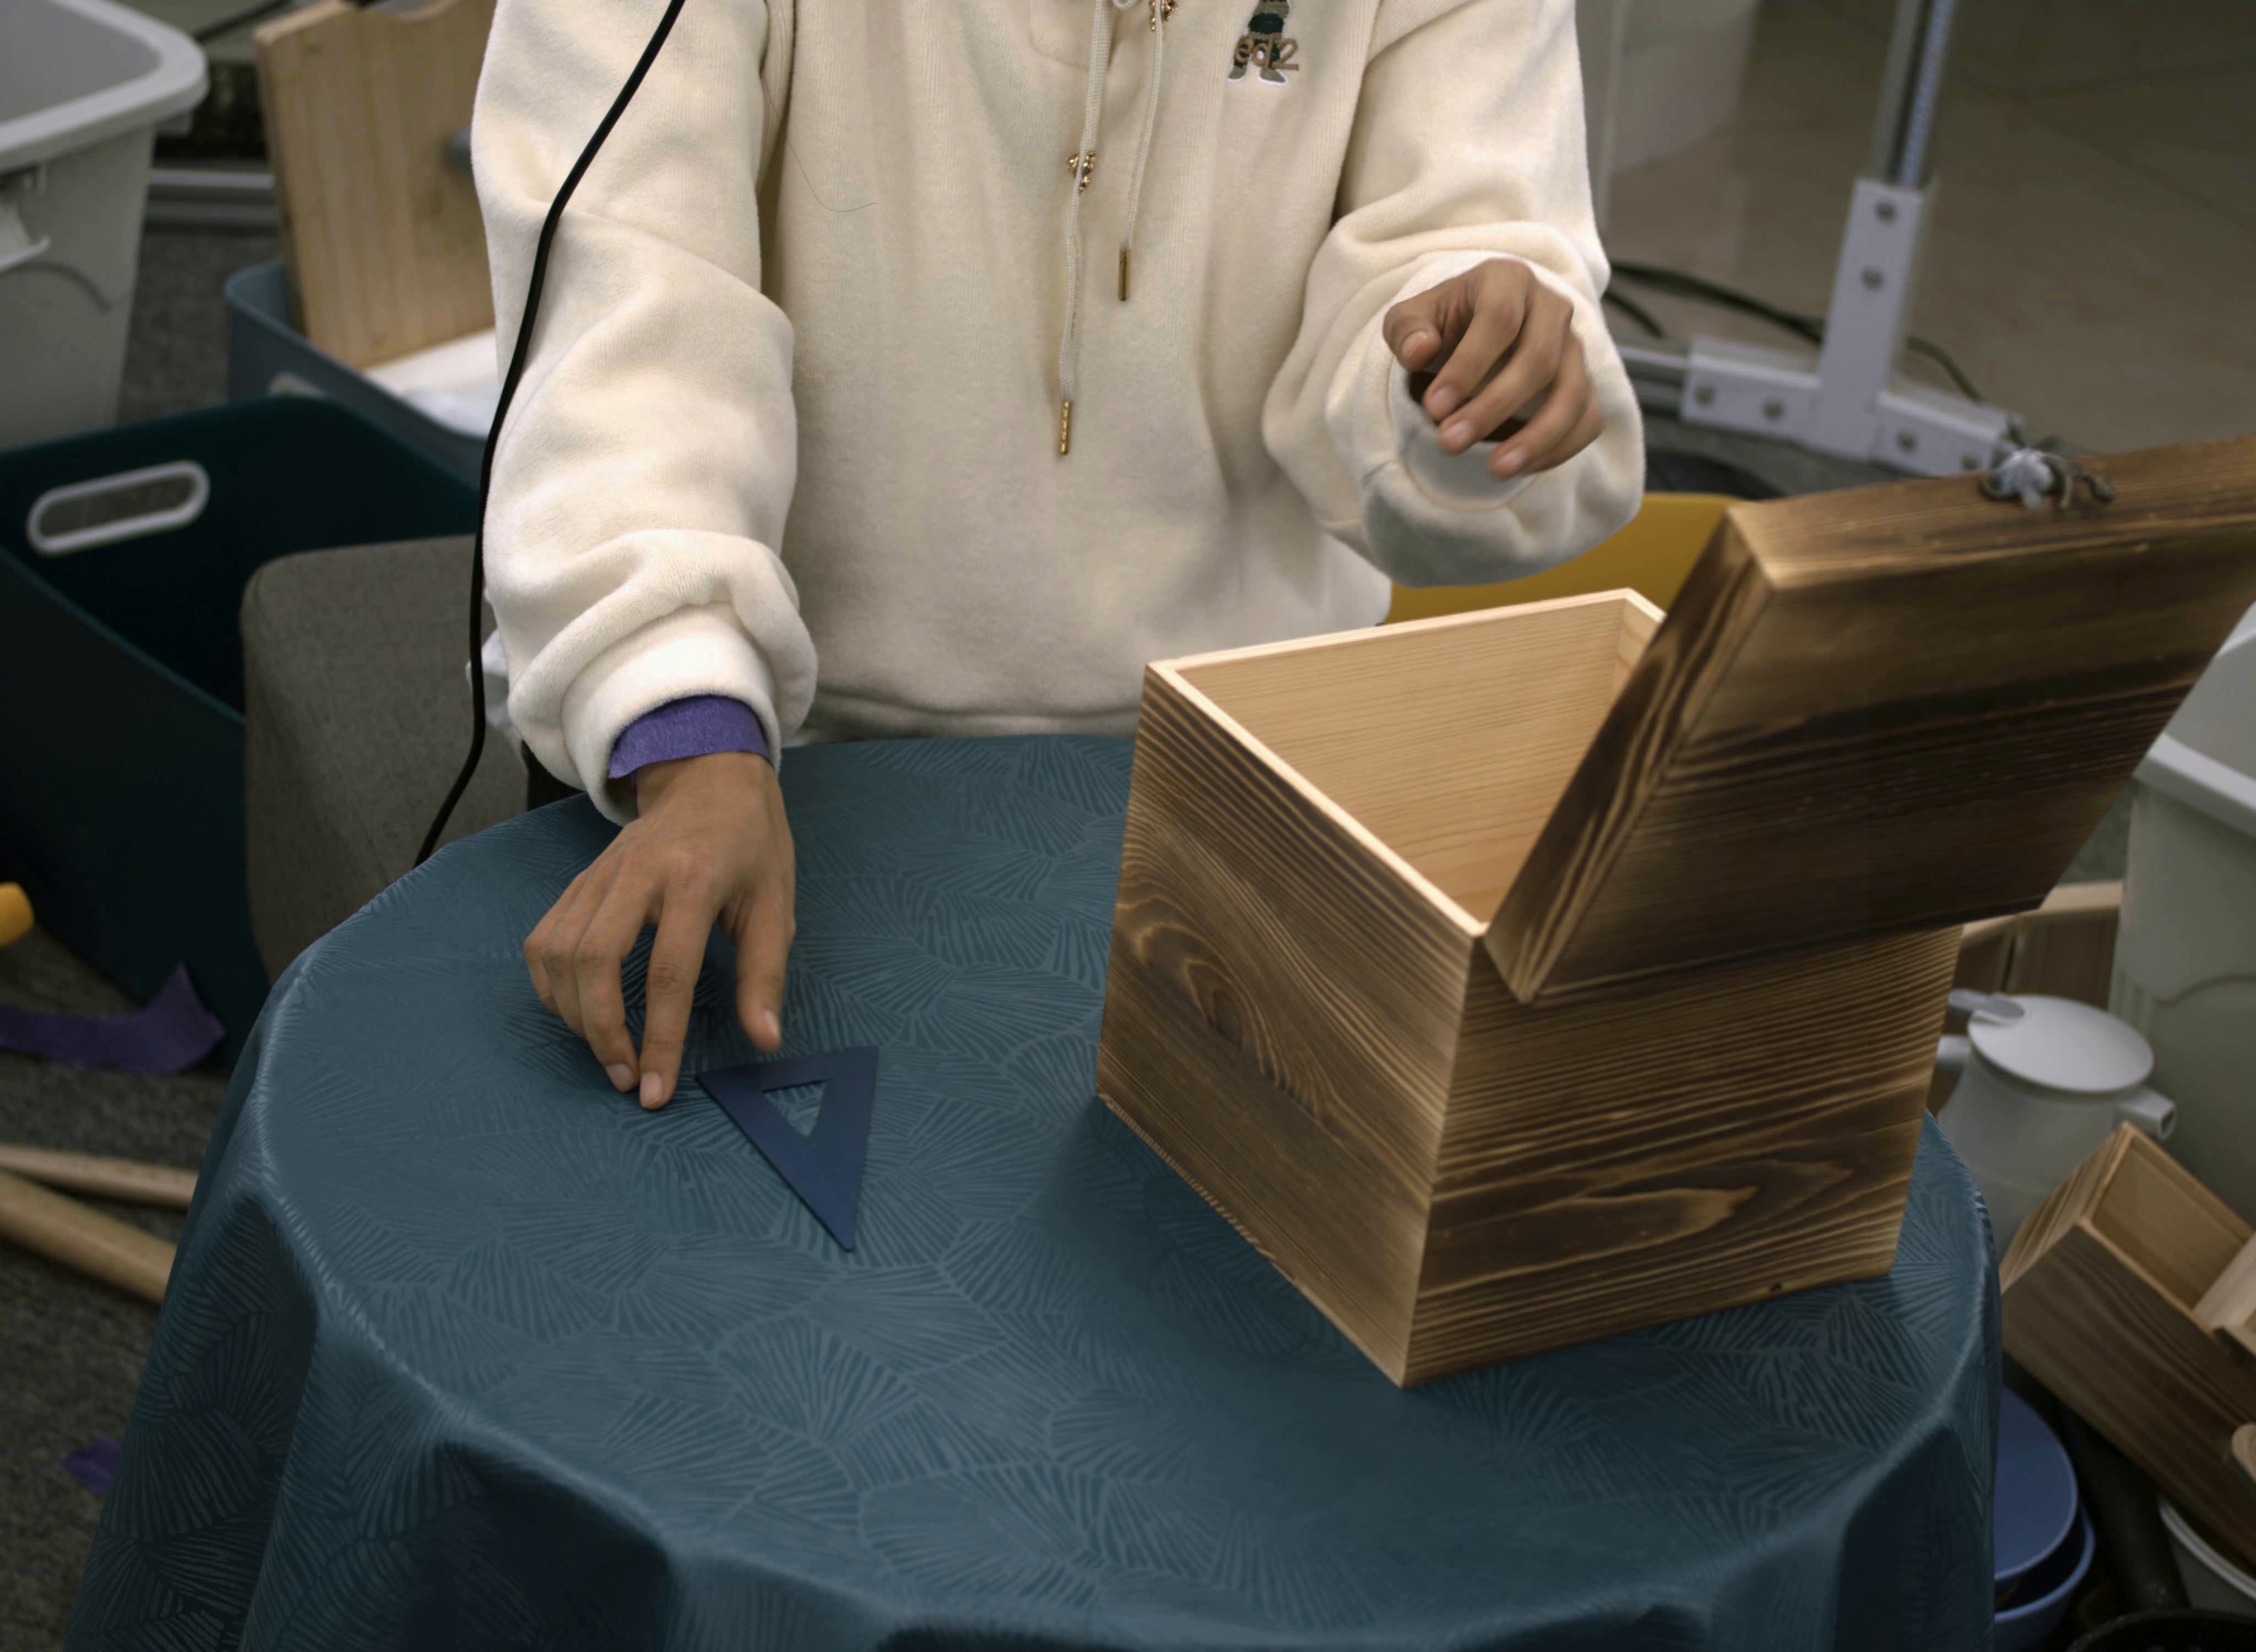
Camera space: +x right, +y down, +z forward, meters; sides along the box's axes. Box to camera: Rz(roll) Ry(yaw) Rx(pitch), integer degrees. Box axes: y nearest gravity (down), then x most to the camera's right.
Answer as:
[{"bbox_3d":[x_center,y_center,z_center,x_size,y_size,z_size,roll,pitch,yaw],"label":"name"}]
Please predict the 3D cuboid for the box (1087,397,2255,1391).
[{"bbox_3d":[0.170,-0.012,1.713,0.207,0.374,0.325,-9,31,-30],"label":"box"}]

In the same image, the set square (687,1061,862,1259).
[{"bbox_3d":[-0.125,0.107,1.800,0.061,0.006,0.132,10,27,1],"label":"set square"}]
